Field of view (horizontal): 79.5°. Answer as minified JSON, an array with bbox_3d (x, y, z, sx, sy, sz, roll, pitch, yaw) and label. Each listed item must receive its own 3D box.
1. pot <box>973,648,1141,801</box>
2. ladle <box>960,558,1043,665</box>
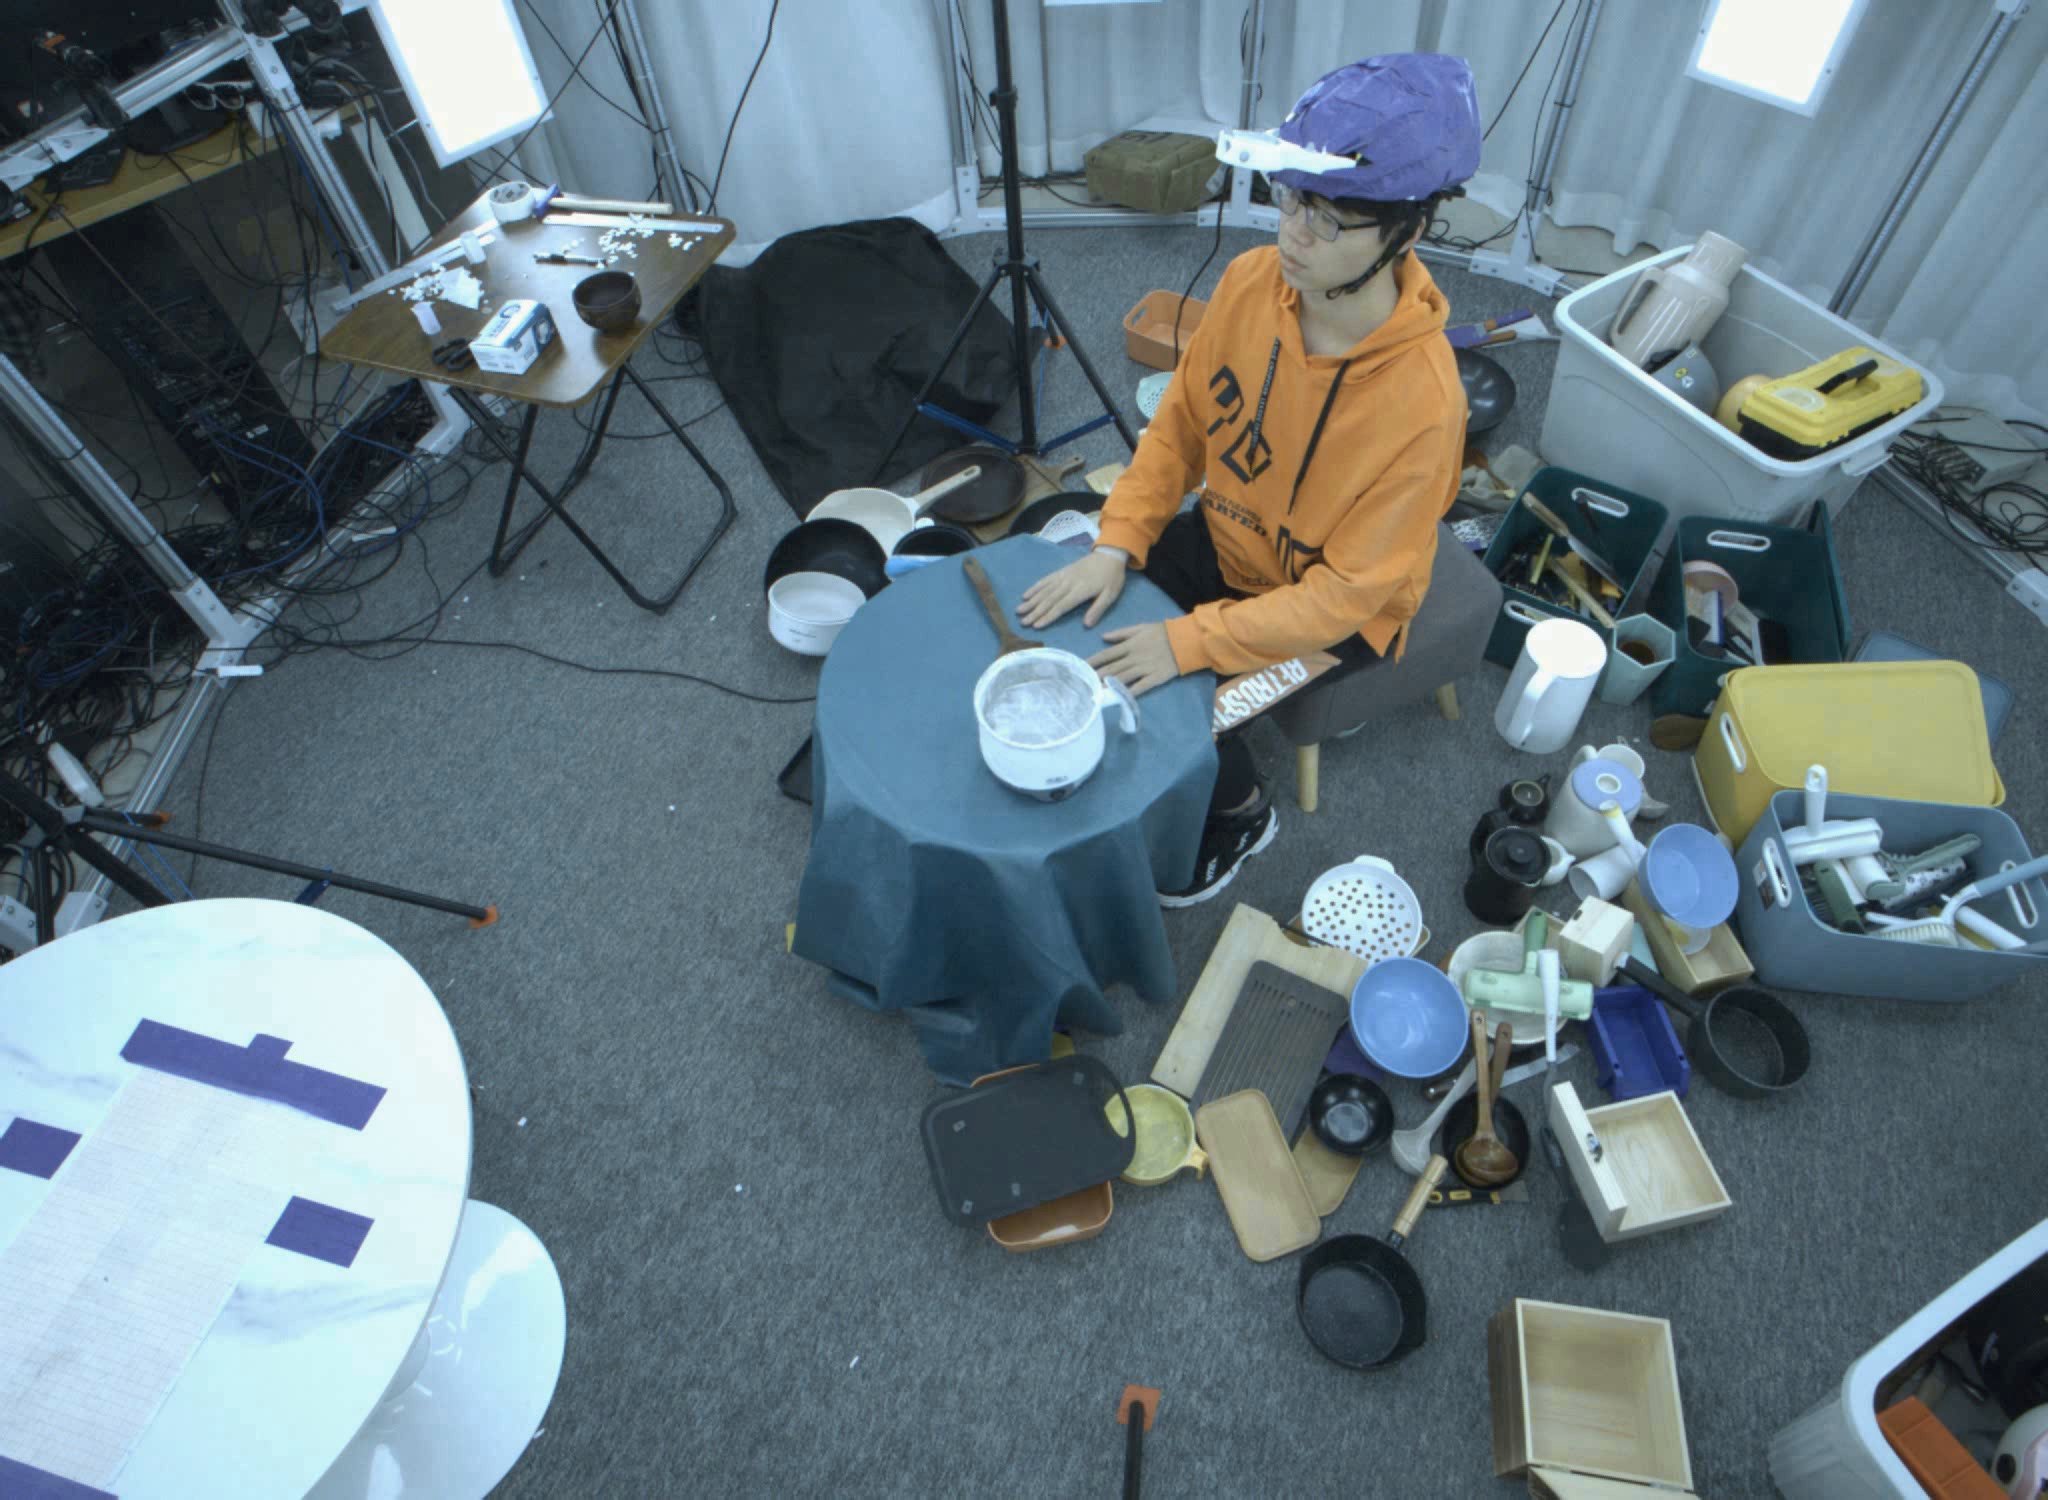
[{"bbox_3d":[0.050,-0.042,1.730,0.235,0.138,0.176,-15,56,-7],"label":"pot"},{"bbox_3d":[-0.046,-0.228,1.907,0.076,0.072,0.269,-18,57,-12],"label":"ladle"}]
